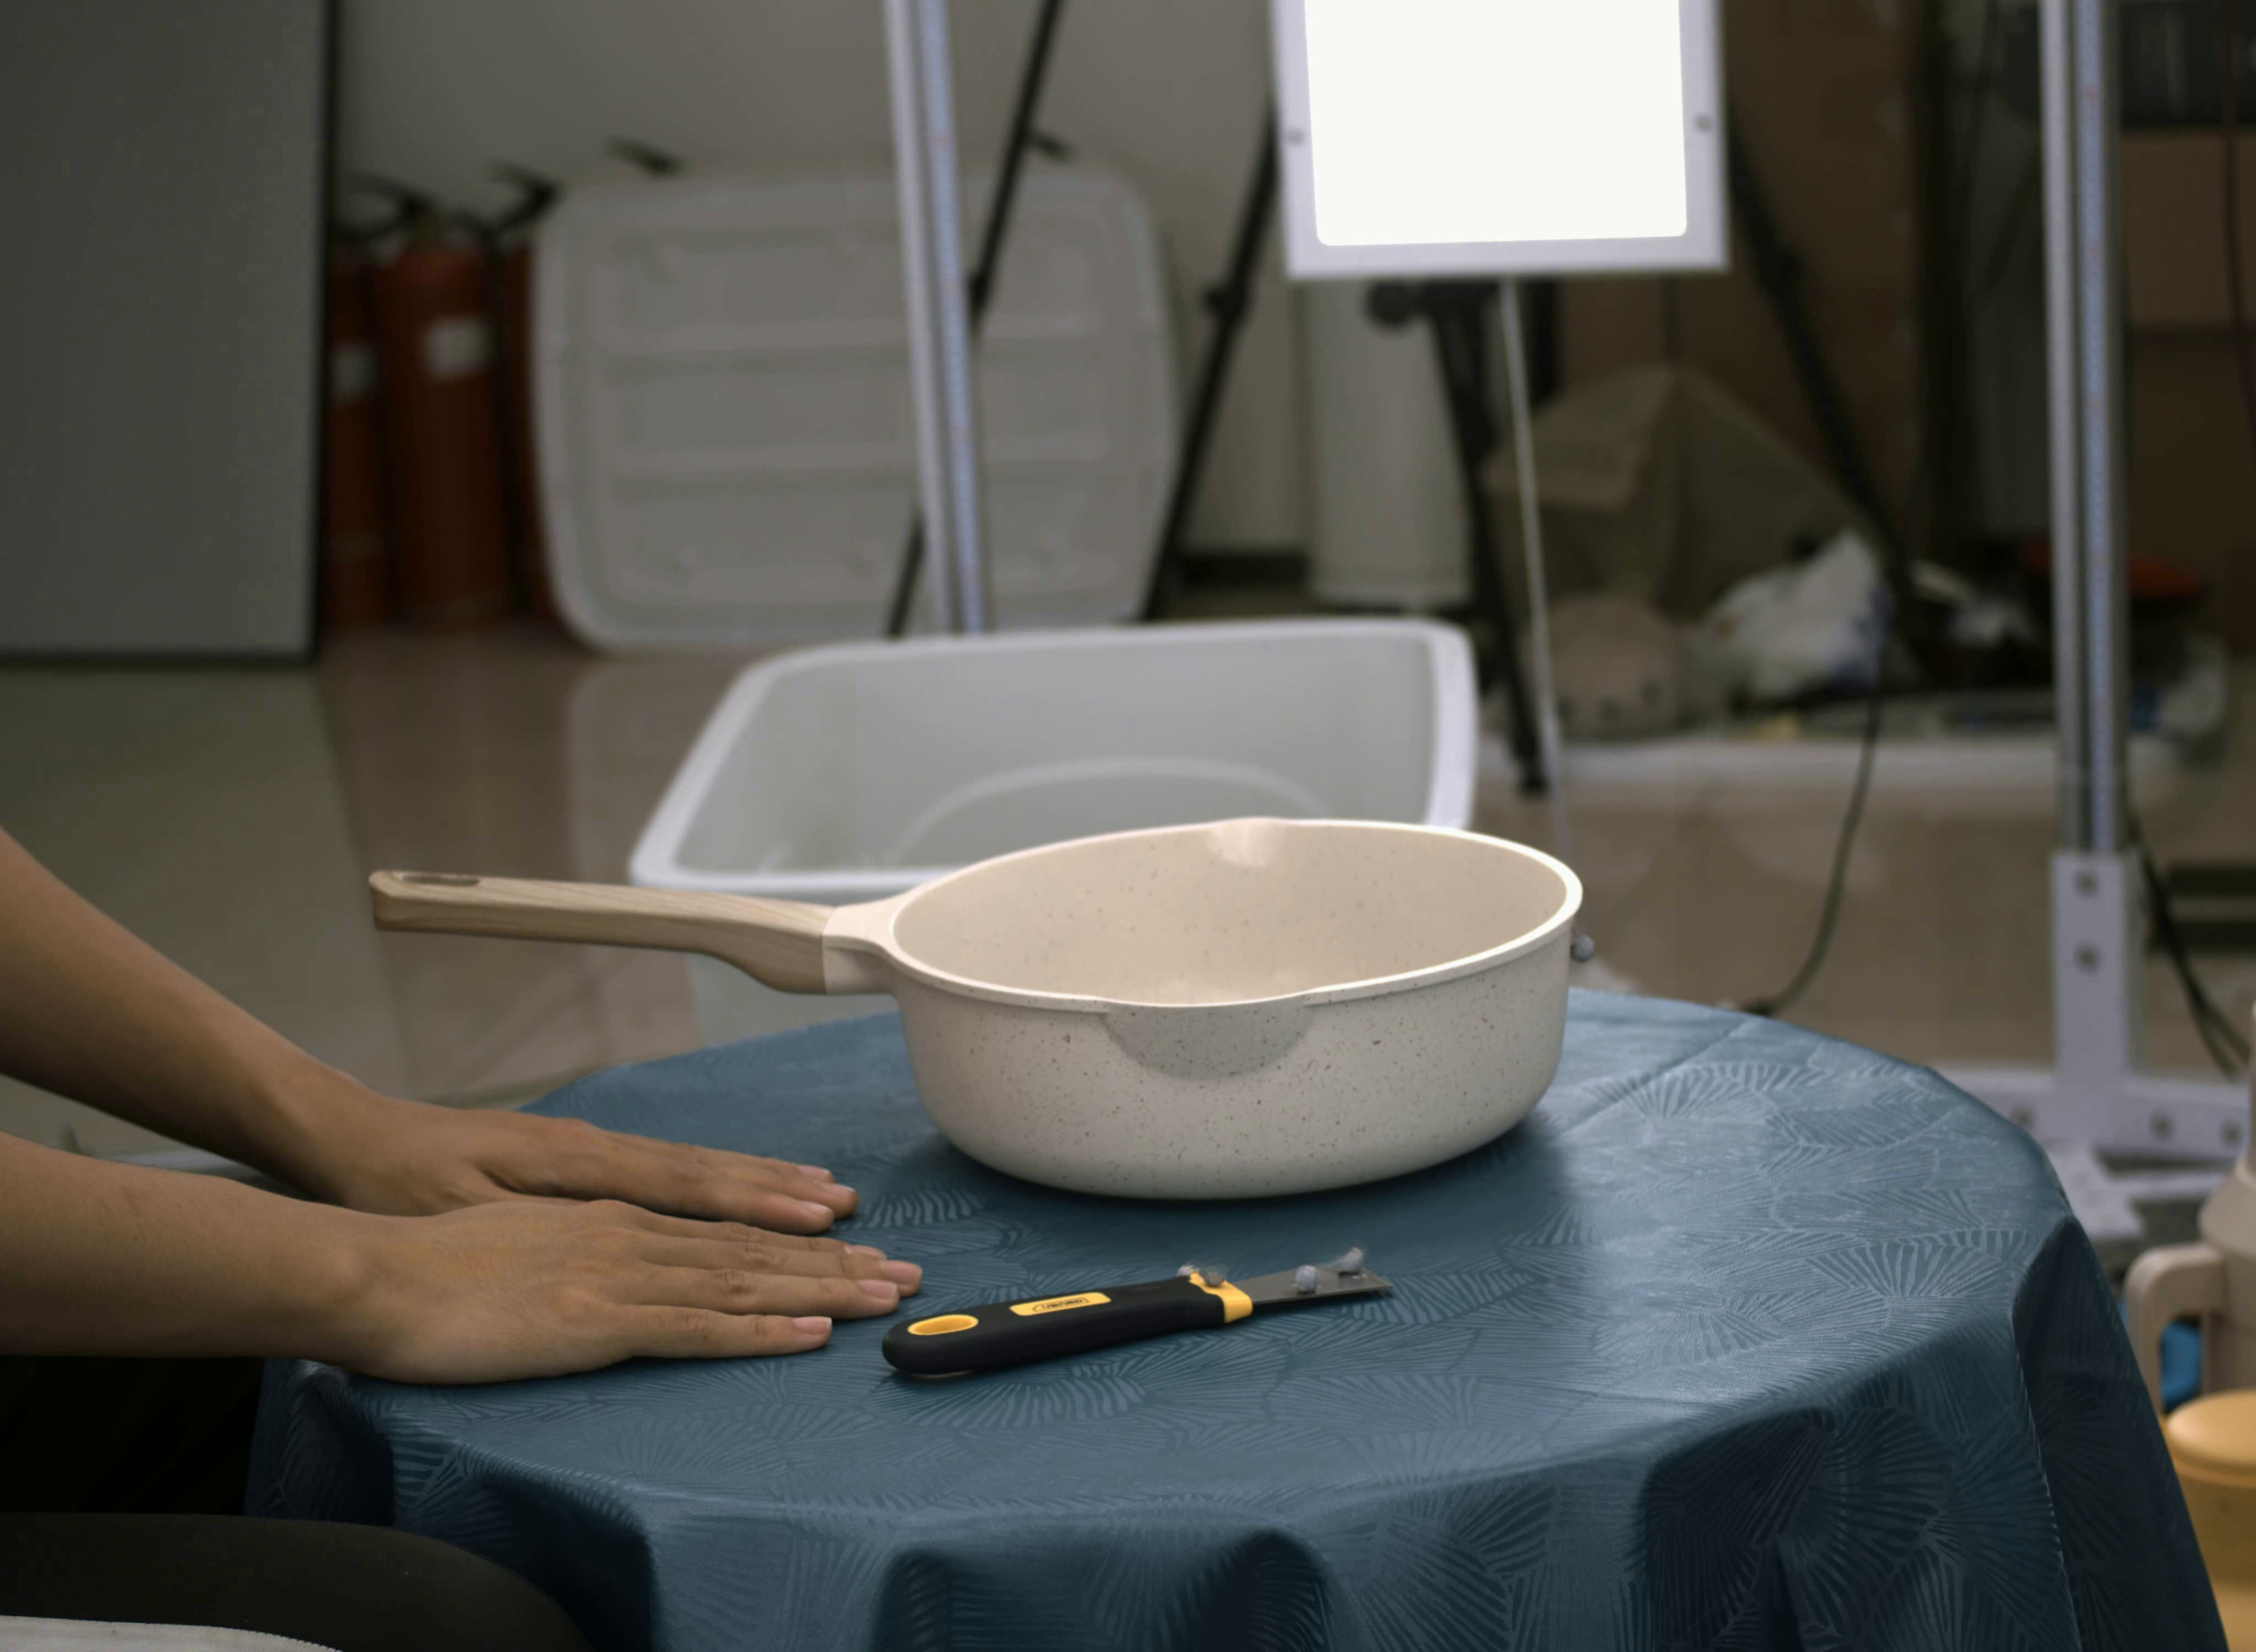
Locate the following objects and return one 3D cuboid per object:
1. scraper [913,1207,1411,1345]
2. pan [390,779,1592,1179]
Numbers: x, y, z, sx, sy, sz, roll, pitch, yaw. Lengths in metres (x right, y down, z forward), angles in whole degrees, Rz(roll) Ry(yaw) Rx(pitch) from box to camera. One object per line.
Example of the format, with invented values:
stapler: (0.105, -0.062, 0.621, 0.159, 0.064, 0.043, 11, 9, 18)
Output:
scraper: (0.011, 0.144, 1.763, 0.167, 0.015, 0.039, -8, 19, -23)
pan: (-0.048, 0.055, 1.989, 0.436, 0.102, 0.261, -3, 16, 7)
